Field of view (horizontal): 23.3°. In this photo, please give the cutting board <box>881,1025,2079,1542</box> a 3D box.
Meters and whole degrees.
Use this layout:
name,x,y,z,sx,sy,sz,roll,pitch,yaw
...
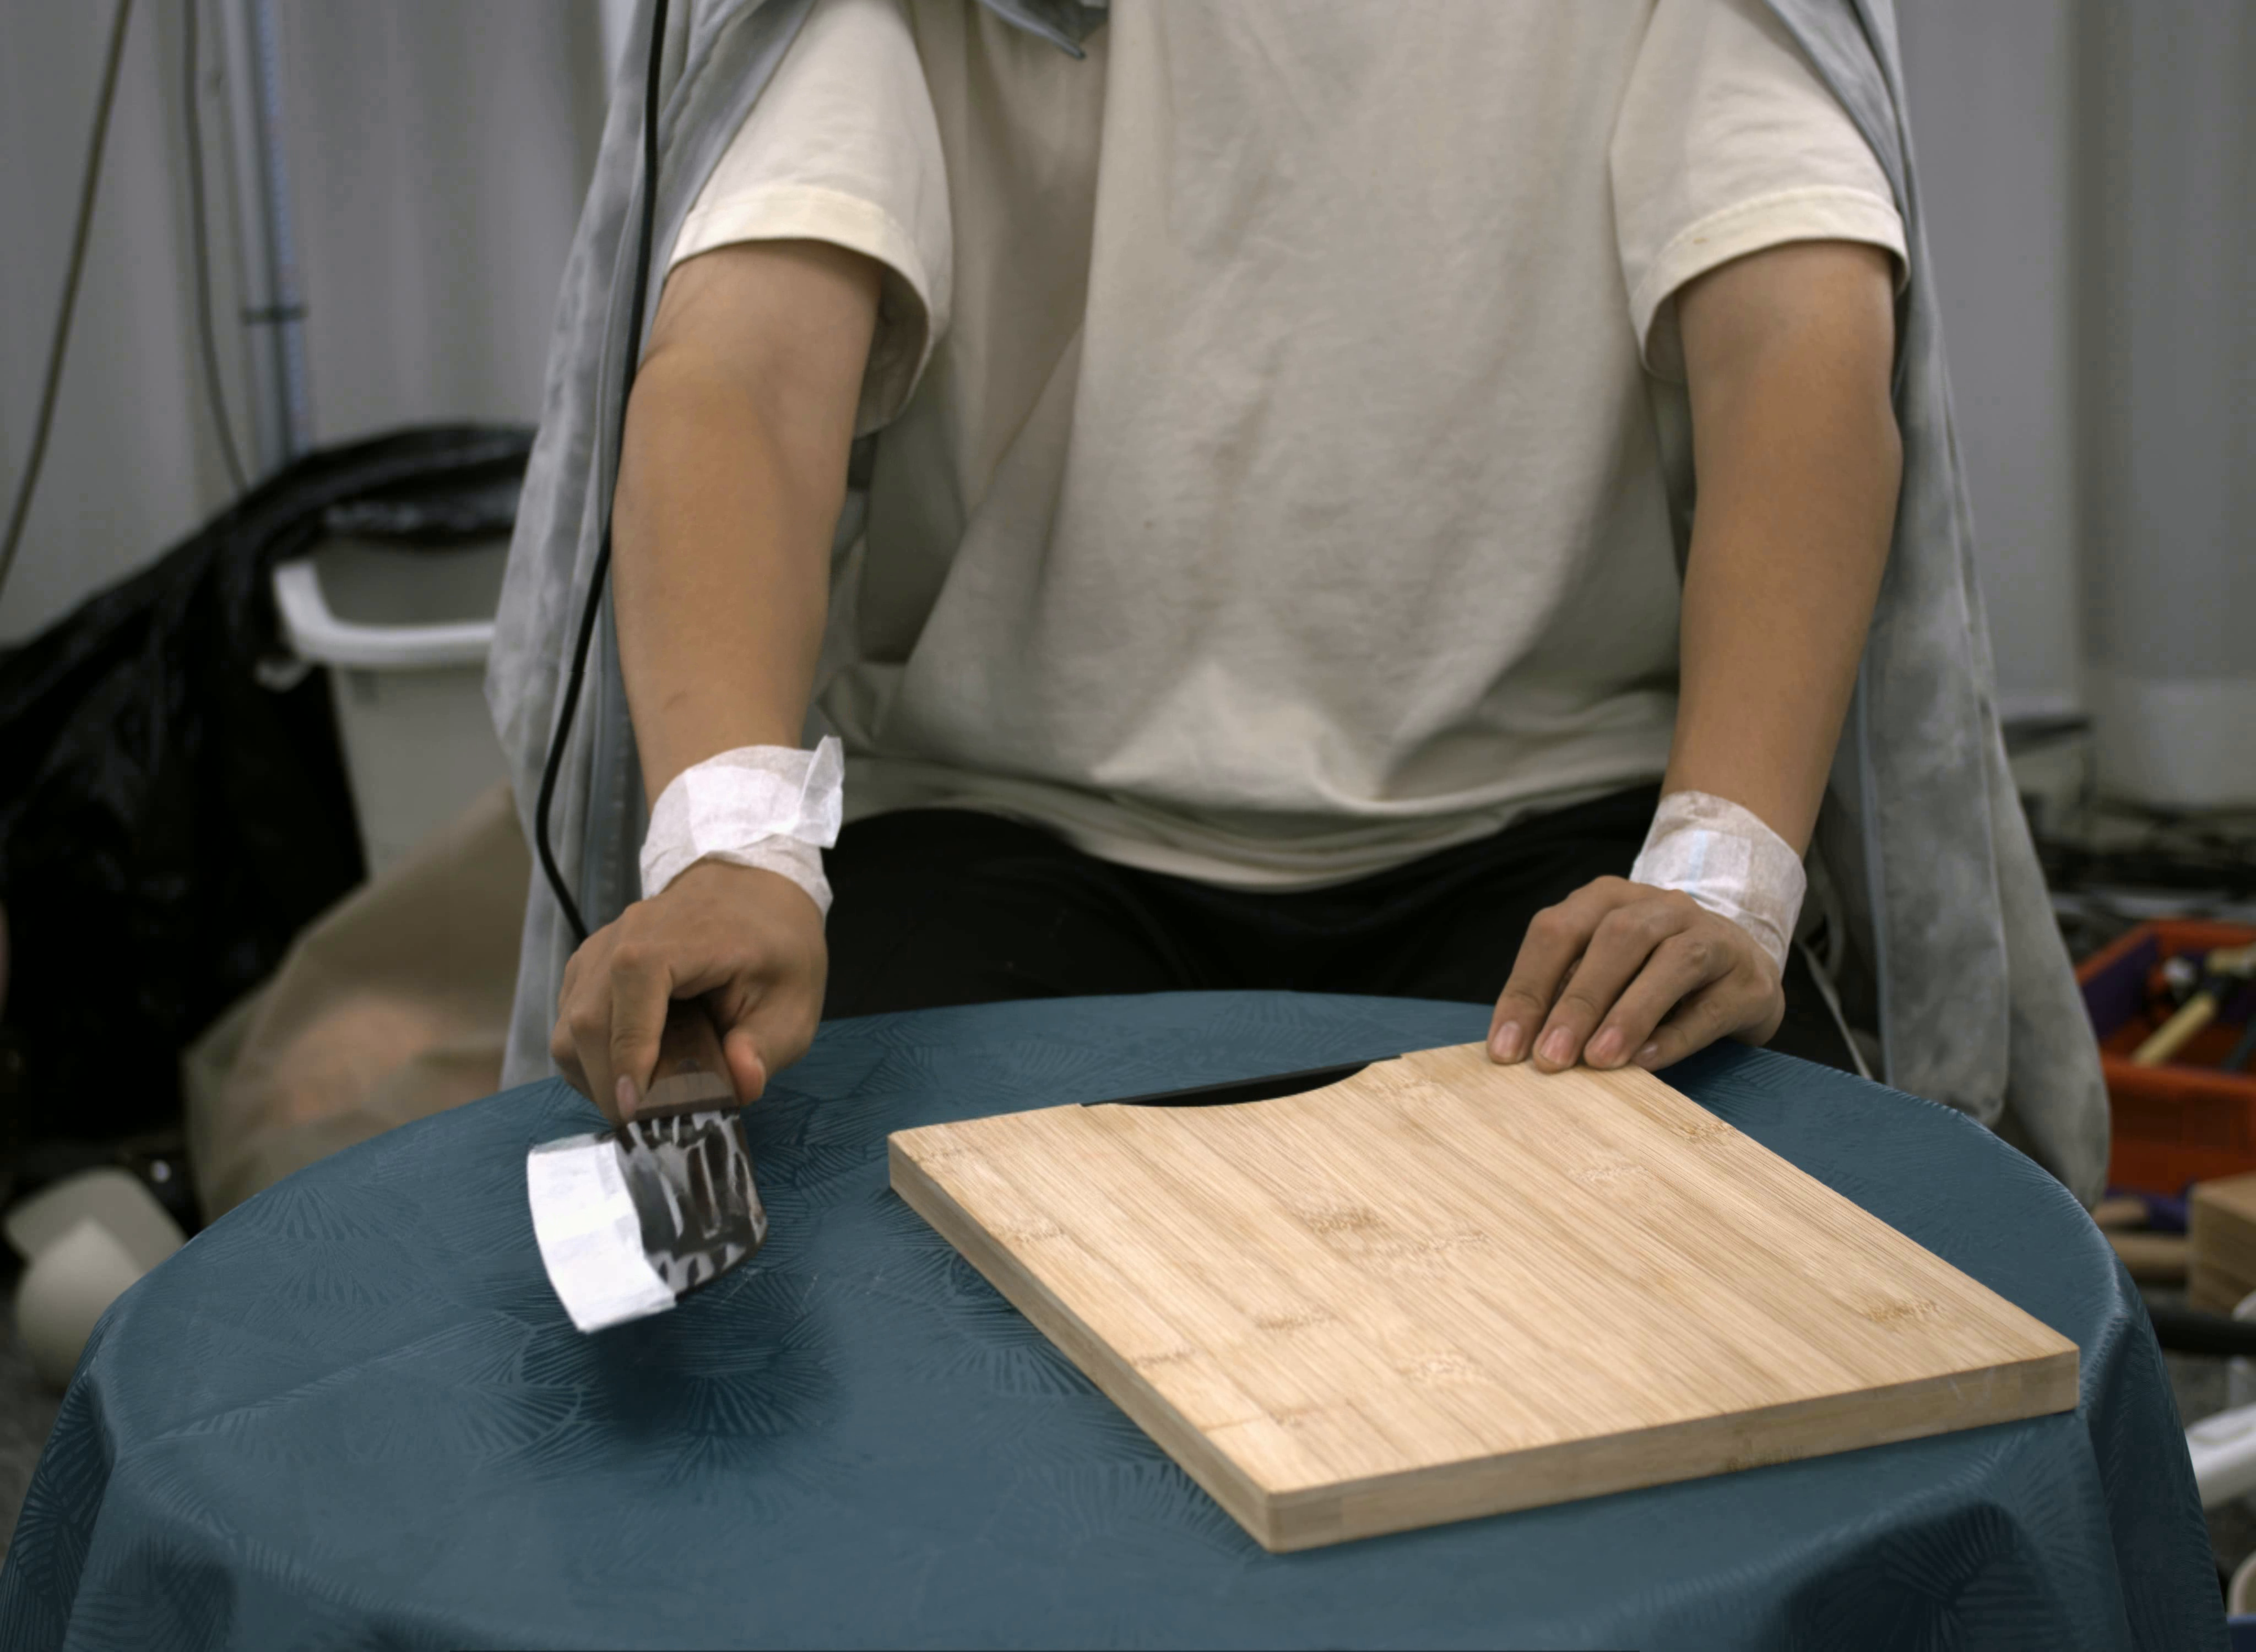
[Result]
name,x,y,z,sx,sy,sz,roll,pitch,yaw
cutting board,0.091,0.128,1.620,0.249,0.023,0.351,-8,15,-19

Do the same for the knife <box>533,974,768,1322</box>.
name,x,y,z,sx,sy,sz,roll,pitch,yaw
knife,-0.146,0.097,1.653,0.068,0.024,0.301,-12,15,-4
